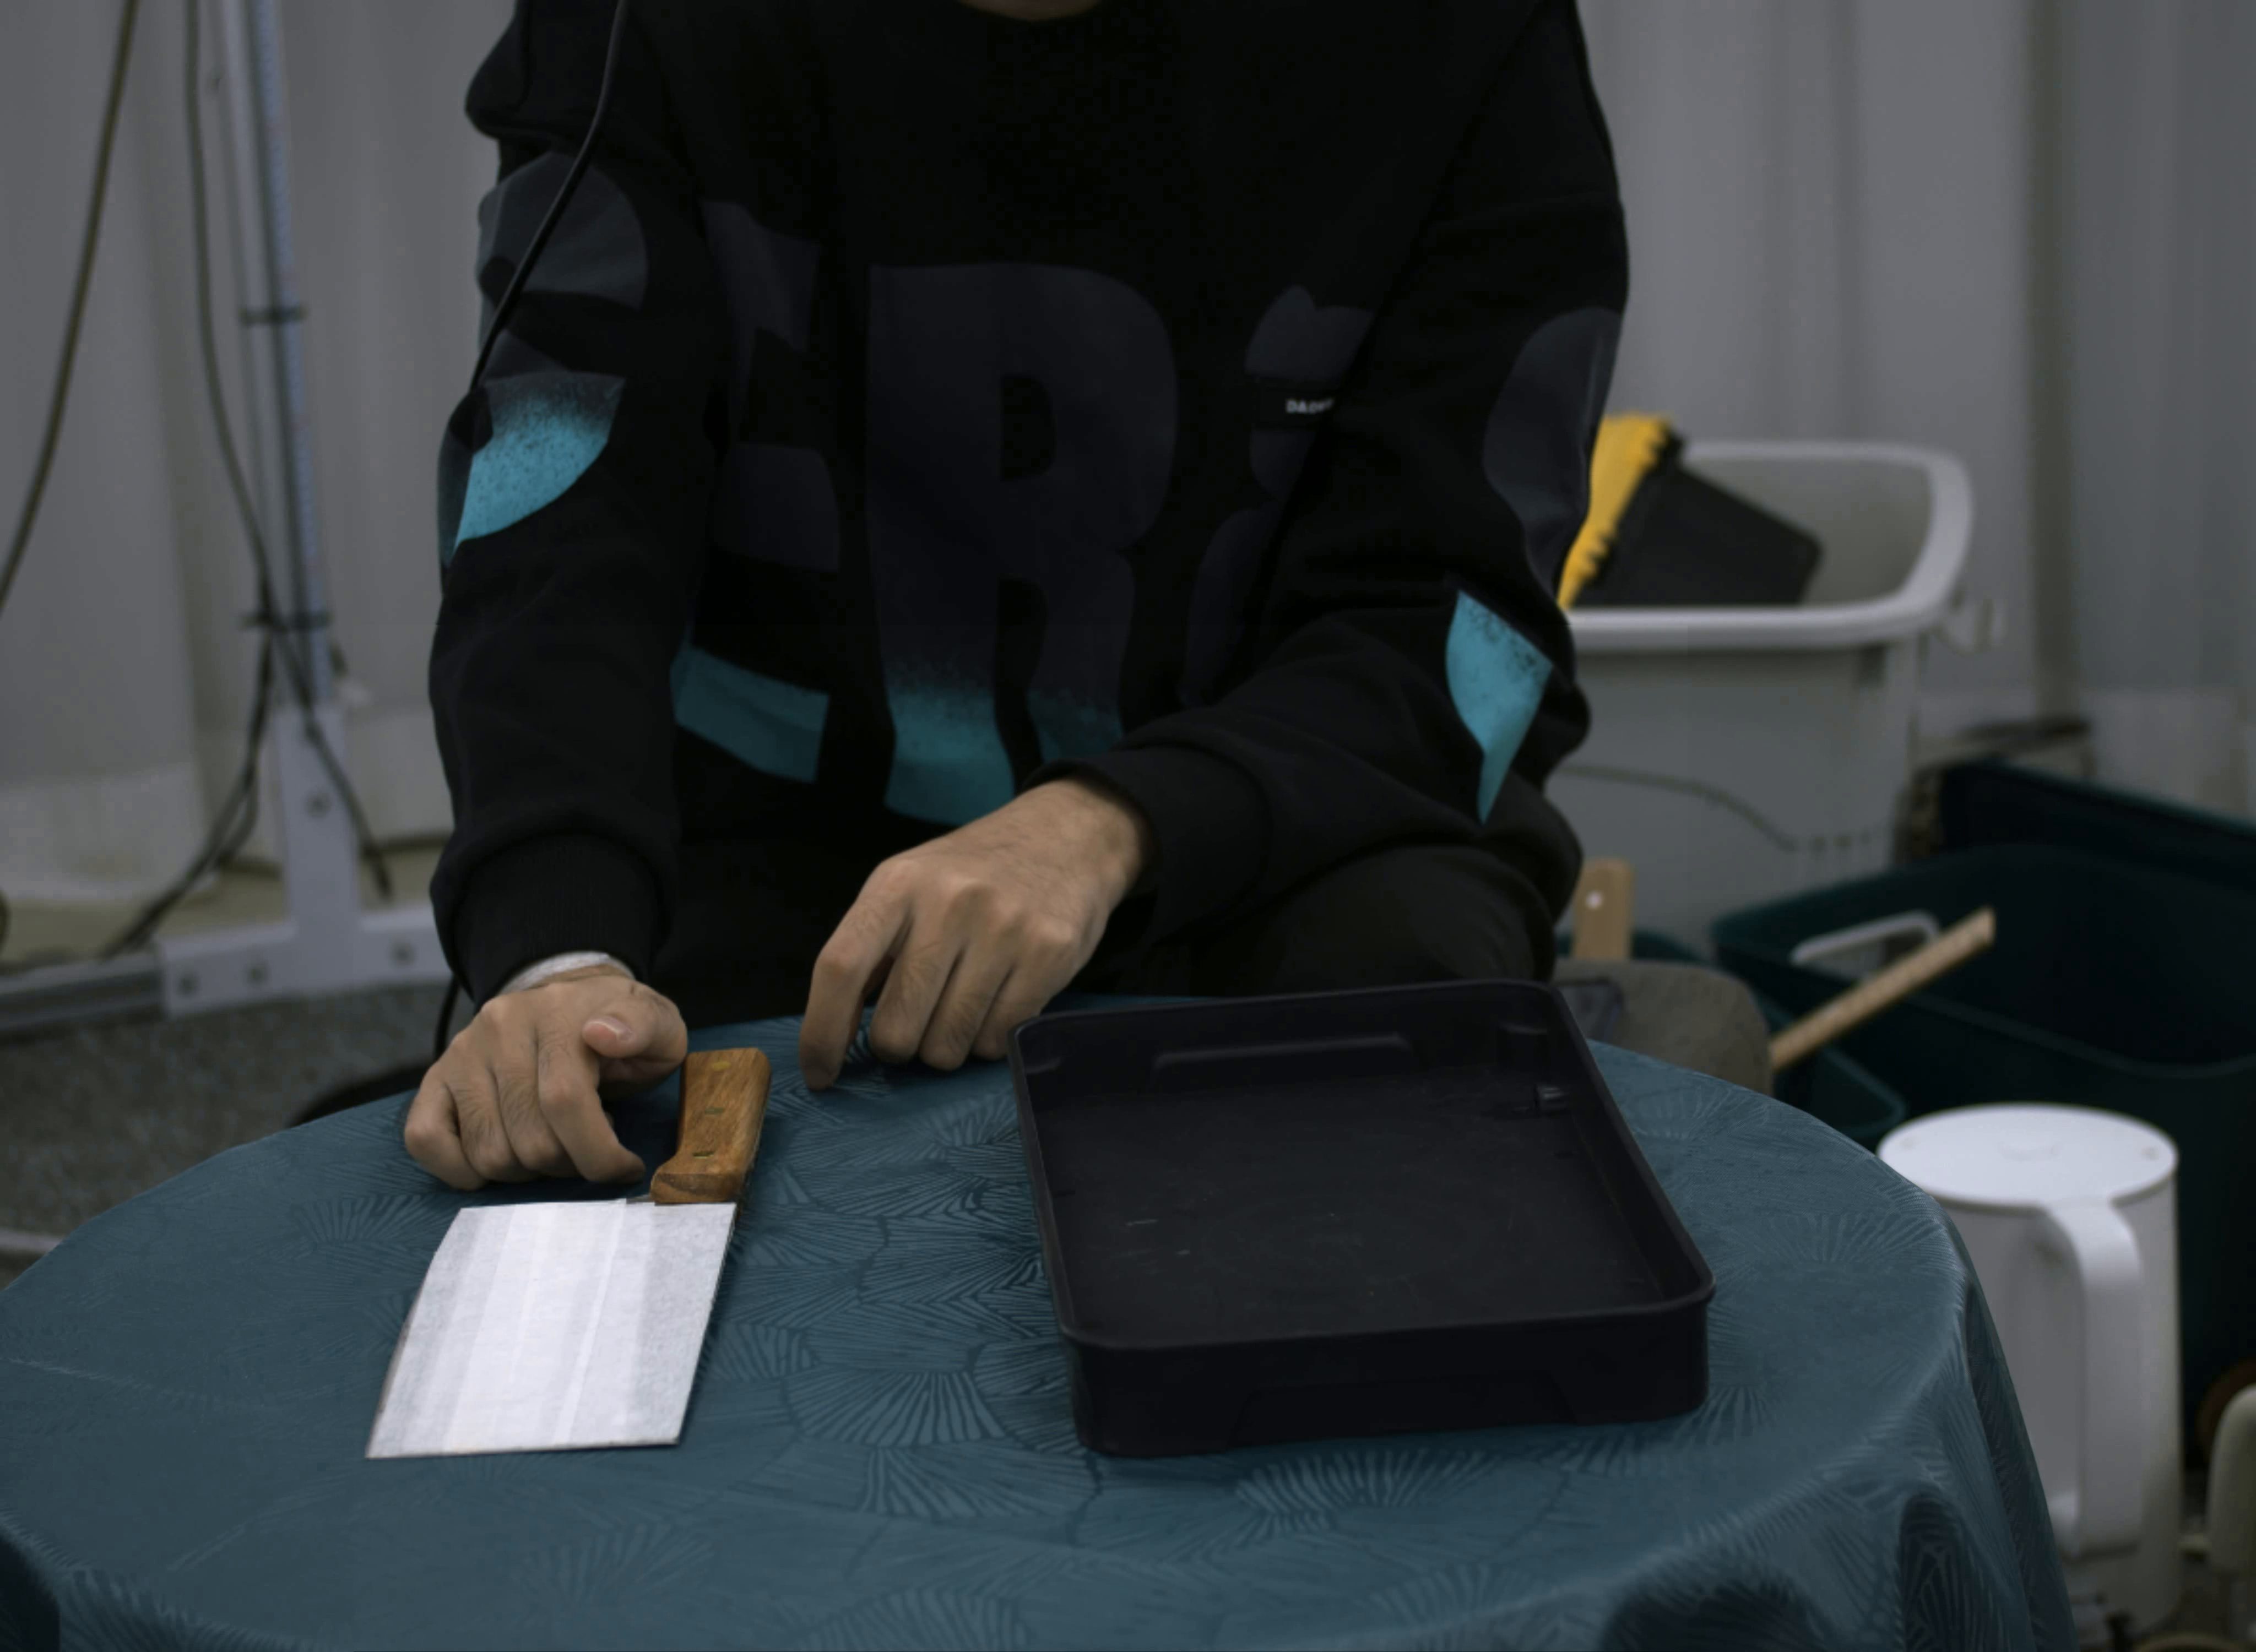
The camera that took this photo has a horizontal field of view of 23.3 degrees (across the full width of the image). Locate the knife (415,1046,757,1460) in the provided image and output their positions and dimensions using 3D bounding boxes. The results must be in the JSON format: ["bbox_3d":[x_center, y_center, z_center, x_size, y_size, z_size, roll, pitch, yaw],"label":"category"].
[{"bbox_3d":[-0.164,0.128,1.668,0.092,0.021,0.308,-4,17,3],"label":"knife"}]

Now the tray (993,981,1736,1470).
[{"bbox_3d":[0.063,0.114,1.637,0.183,0.037,0.320,-5,15,-5],"label":"tray"}]
